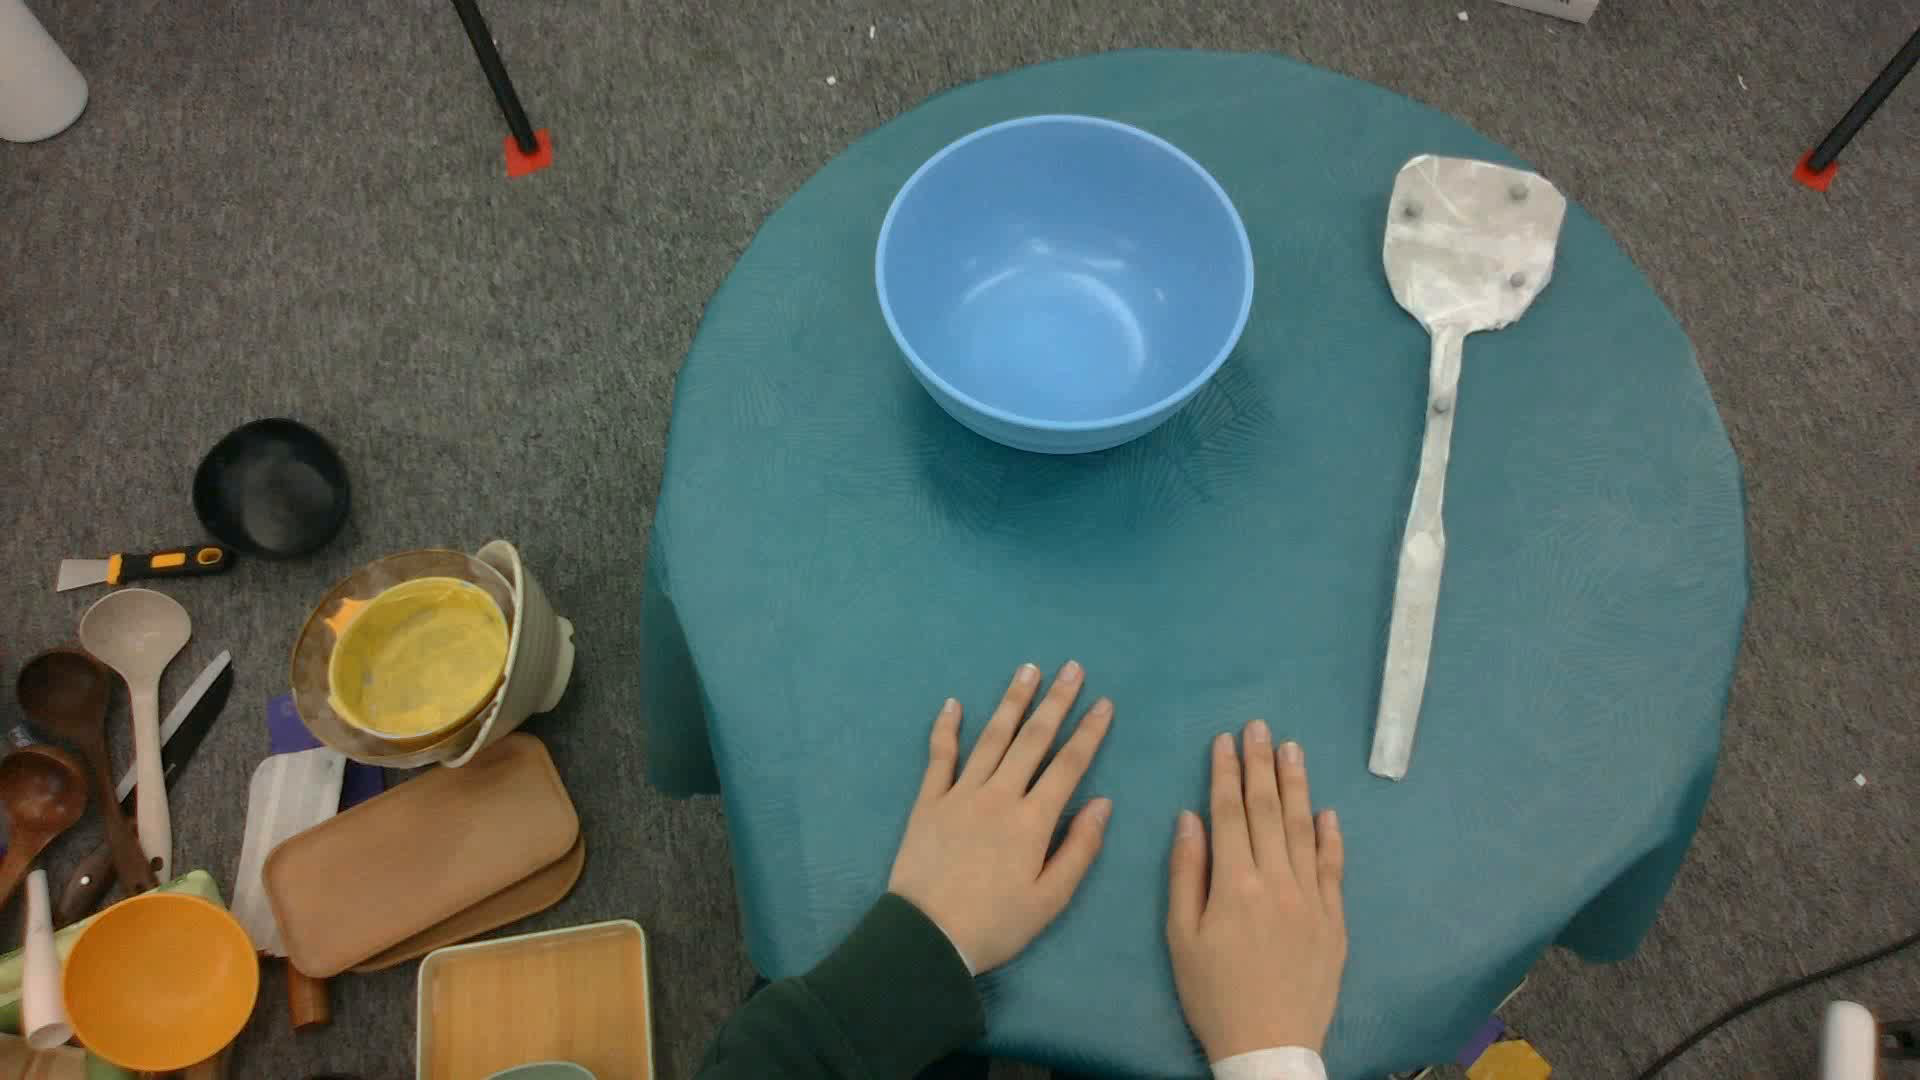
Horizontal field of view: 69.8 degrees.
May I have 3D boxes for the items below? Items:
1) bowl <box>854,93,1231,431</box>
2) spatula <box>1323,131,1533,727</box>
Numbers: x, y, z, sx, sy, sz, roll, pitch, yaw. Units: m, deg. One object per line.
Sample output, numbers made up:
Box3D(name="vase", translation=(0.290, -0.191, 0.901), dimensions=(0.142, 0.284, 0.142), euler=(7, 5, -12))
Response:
Box3D(name="bowl", translation=(0.041, -0.136, 0.754), dimensions=(0.196, 0.095, 0.197), euler=(1, 65, -2))
Box3D(name="spatula", translation=(0.246, -0.070, 0.759), dimensions=(0.098, 0.044, 0.366), euler=(15, 66, 4))
